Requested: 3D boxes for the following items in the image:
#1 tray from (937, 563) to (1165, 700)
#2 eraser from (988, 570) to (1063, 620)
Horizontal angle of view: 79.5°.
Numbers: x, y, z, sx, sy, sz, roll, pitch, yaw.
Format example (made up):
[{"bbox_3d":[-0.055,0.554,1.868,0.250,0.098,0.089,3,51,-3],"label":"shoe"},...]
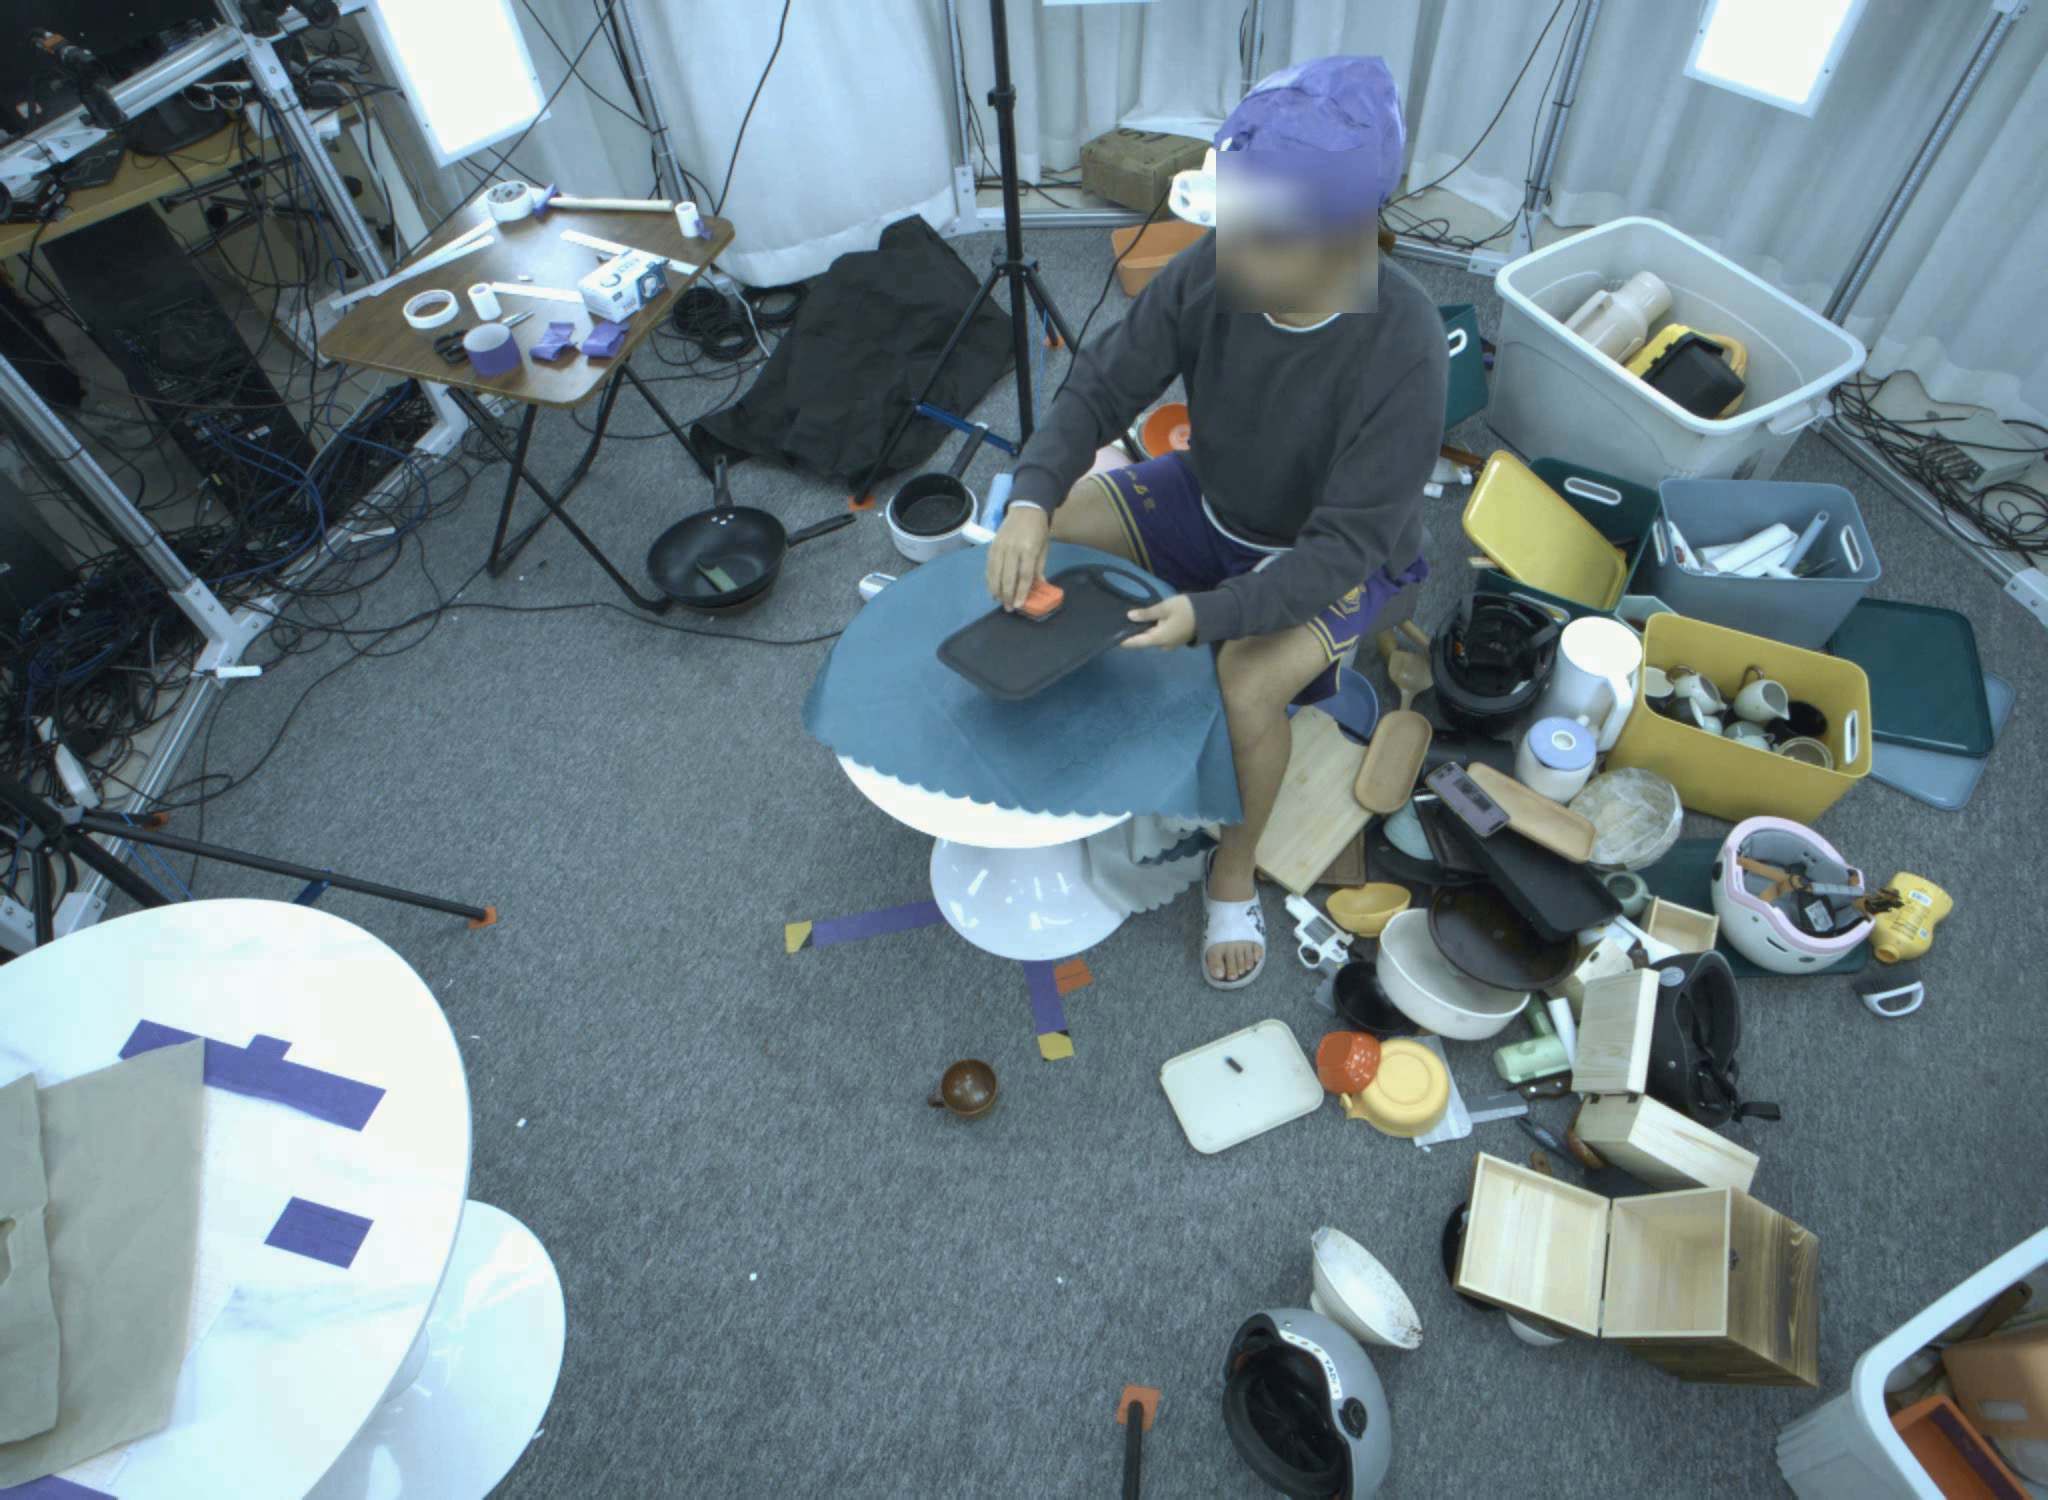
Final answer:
[{"bbox_3d":[0.044,-0.183,1.777,0.328,0.010,0.206,-32,45,-23],"label":"tray"},{"bbox_3d":[0.002,-0.231,1.818,0.105,0.023,0.059,30,56,34],"label":"eraser"}]
